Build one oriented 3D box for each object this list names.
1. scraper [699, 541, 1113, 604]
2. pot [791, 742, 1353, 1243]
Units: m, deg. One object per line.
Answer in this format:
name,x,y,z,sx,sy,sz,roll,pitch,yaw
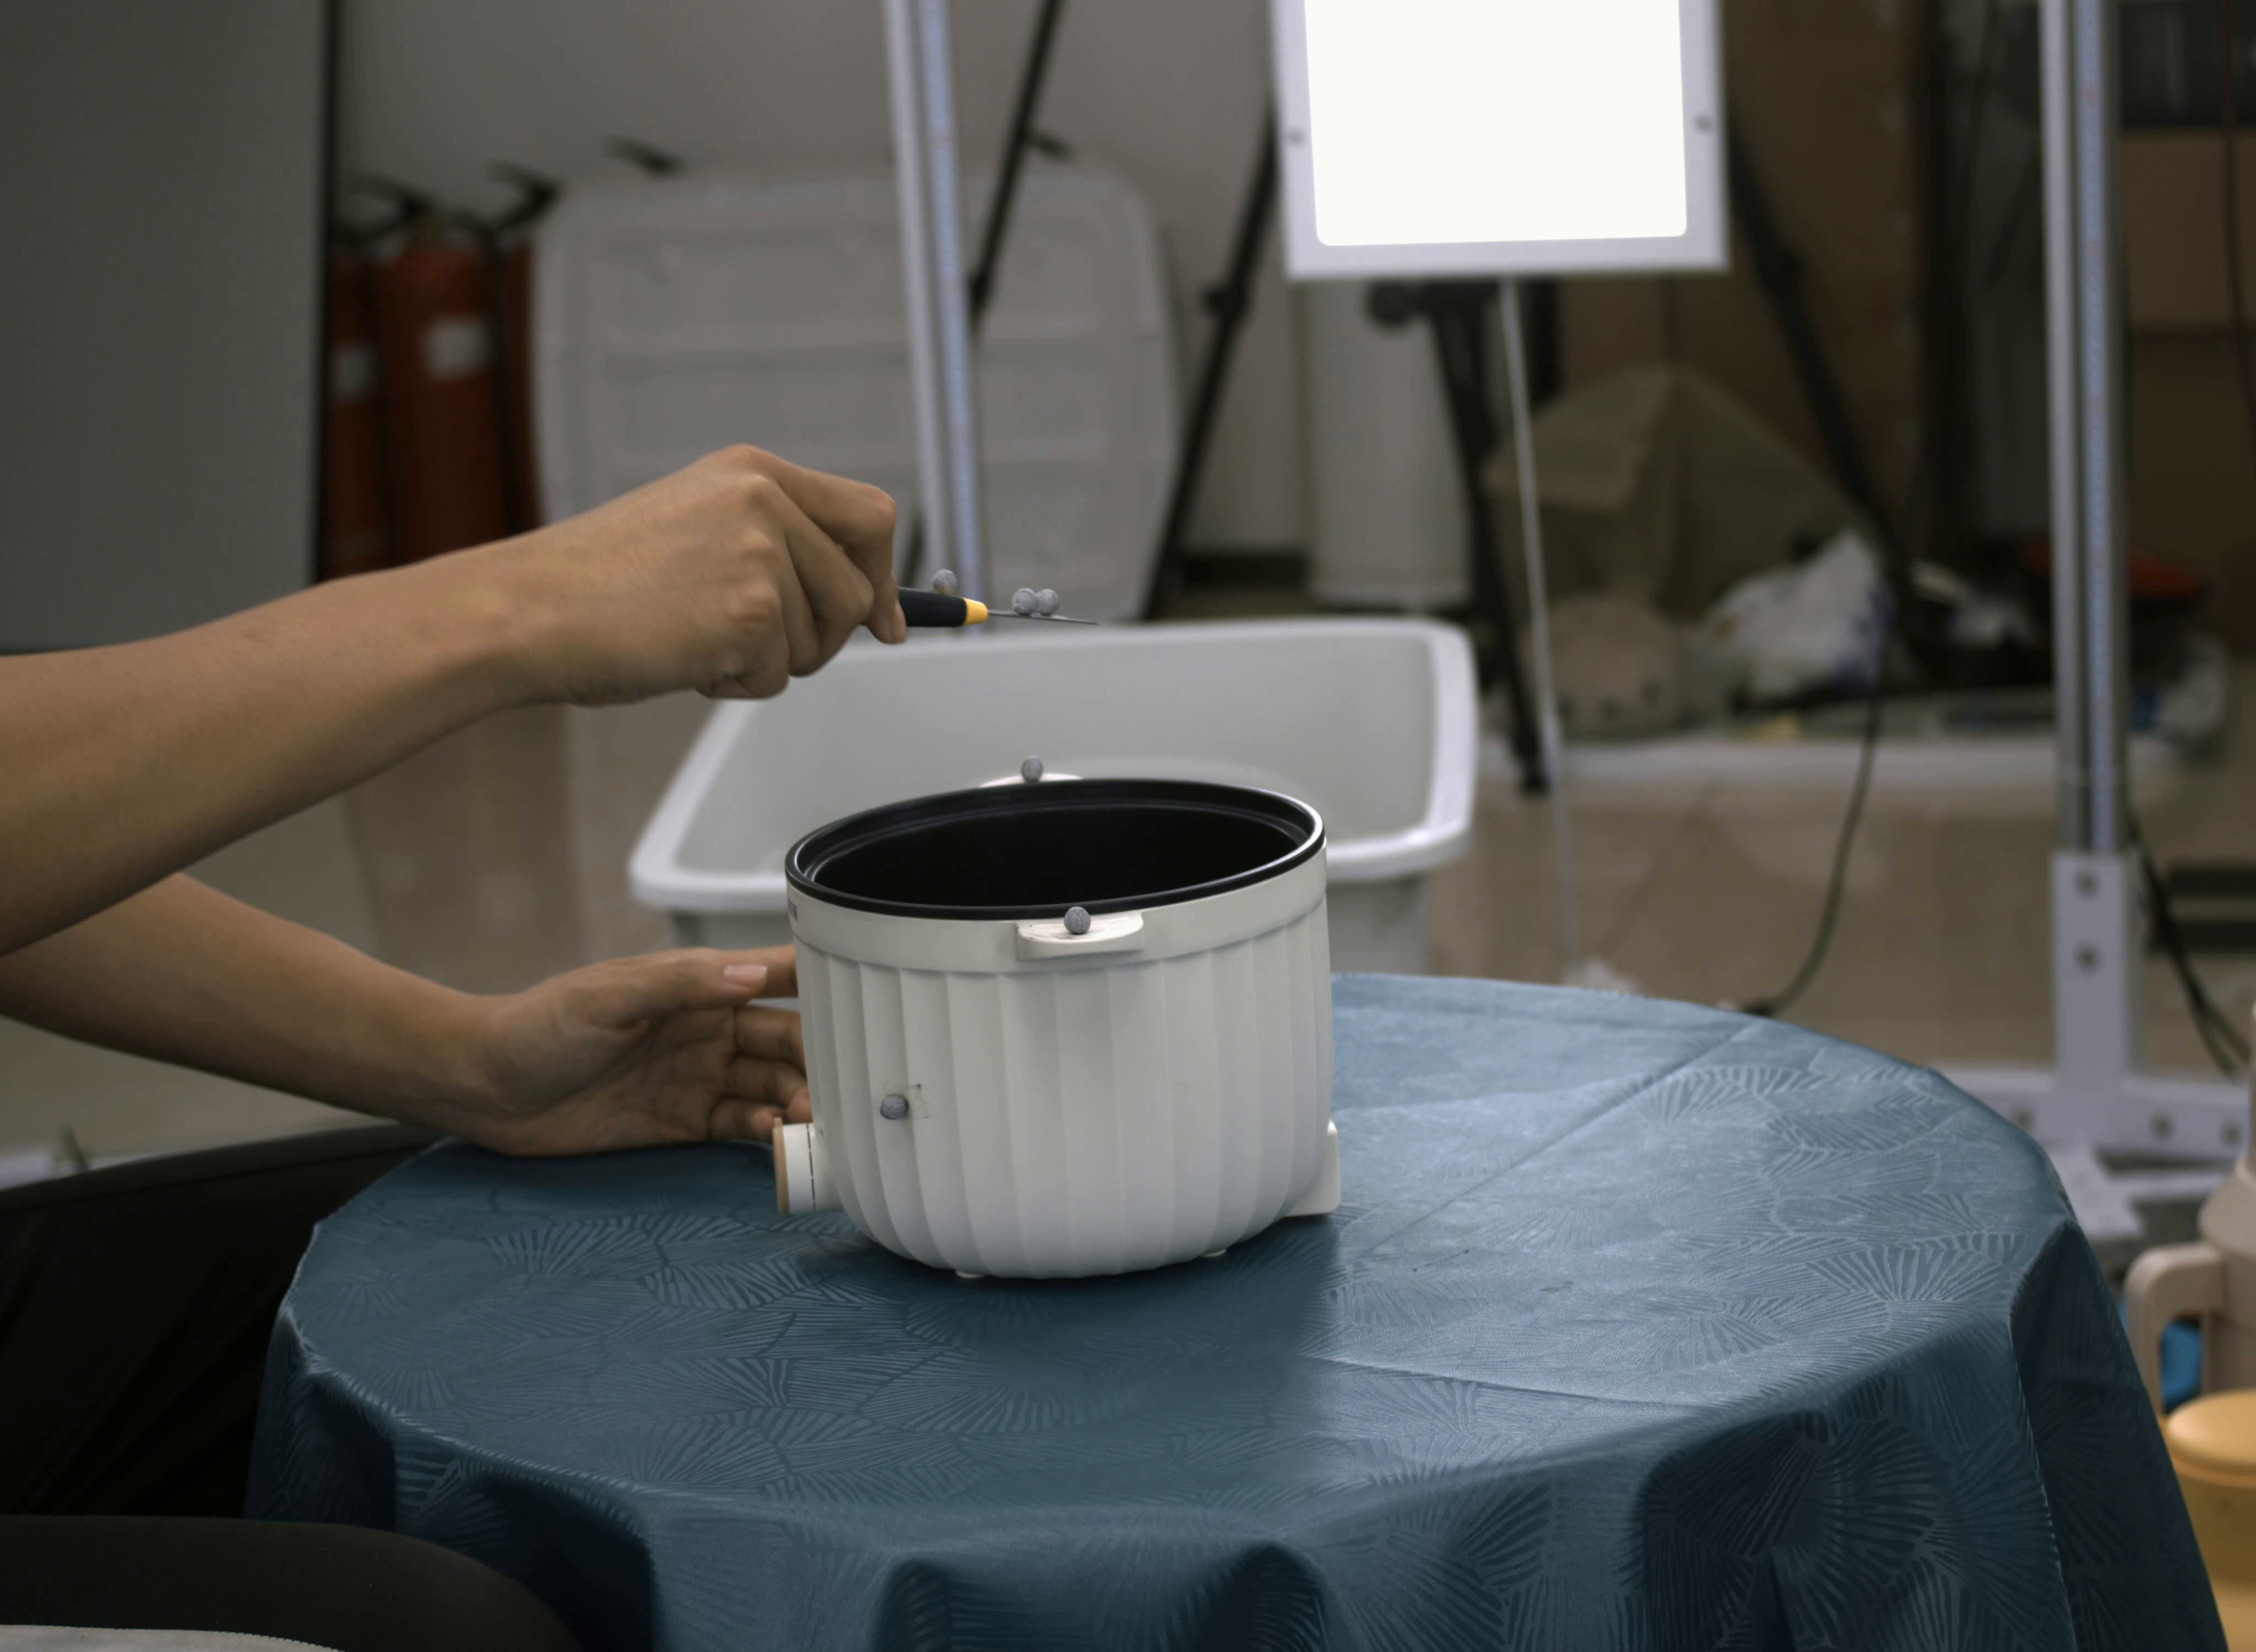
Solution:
scraper,-0.072,-0.080,1.772,0.039,0.015,0.166,18,11,42
pot,-0.019,0.059,1.861,0.189,0.143,0.241,-2,12,-5
